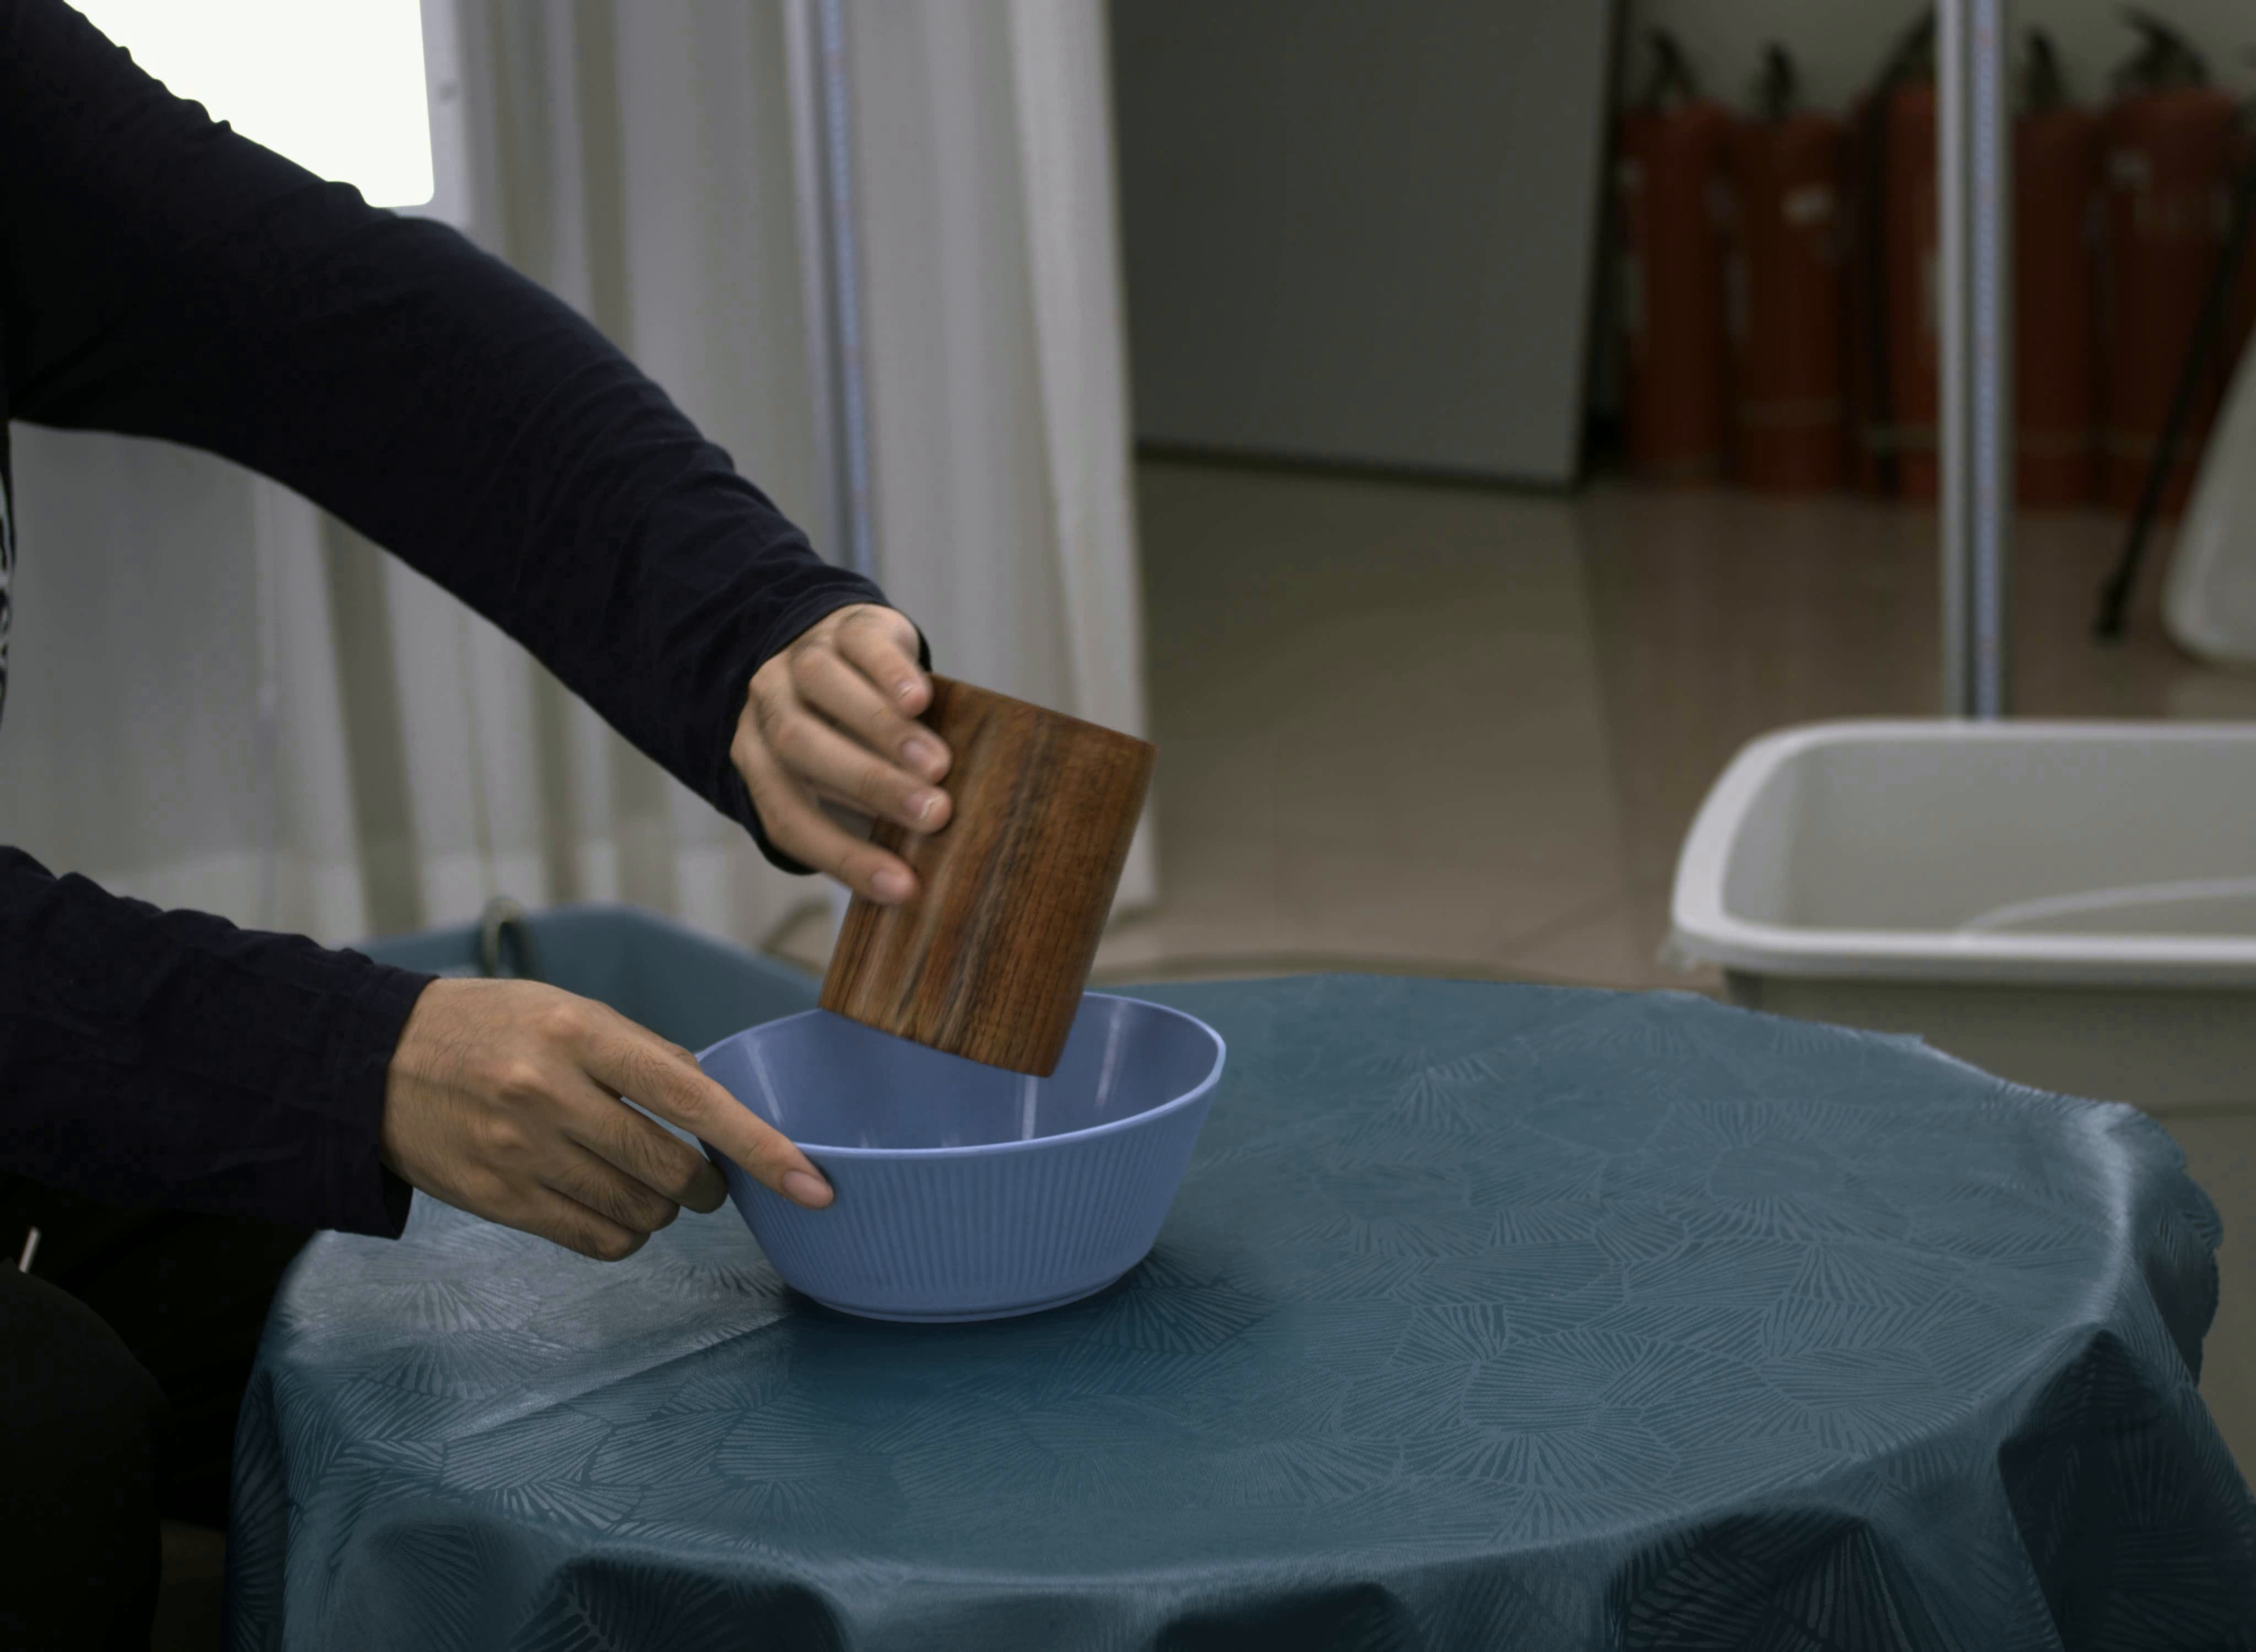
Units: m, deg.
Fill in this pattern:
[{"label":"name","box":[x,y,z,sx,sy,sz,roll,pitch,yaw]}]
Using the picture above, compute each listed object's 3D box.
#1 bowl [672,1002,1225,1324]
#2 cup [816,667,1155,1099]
[{"label":"bowl","box":[-0.054,0.108,1.700,0.174,0.071,0.176,-4,13,0]},{"label":"cup","box":[-0.043,0.018,1.692,0.086,0.120,0.088,16,3,-2]}]
